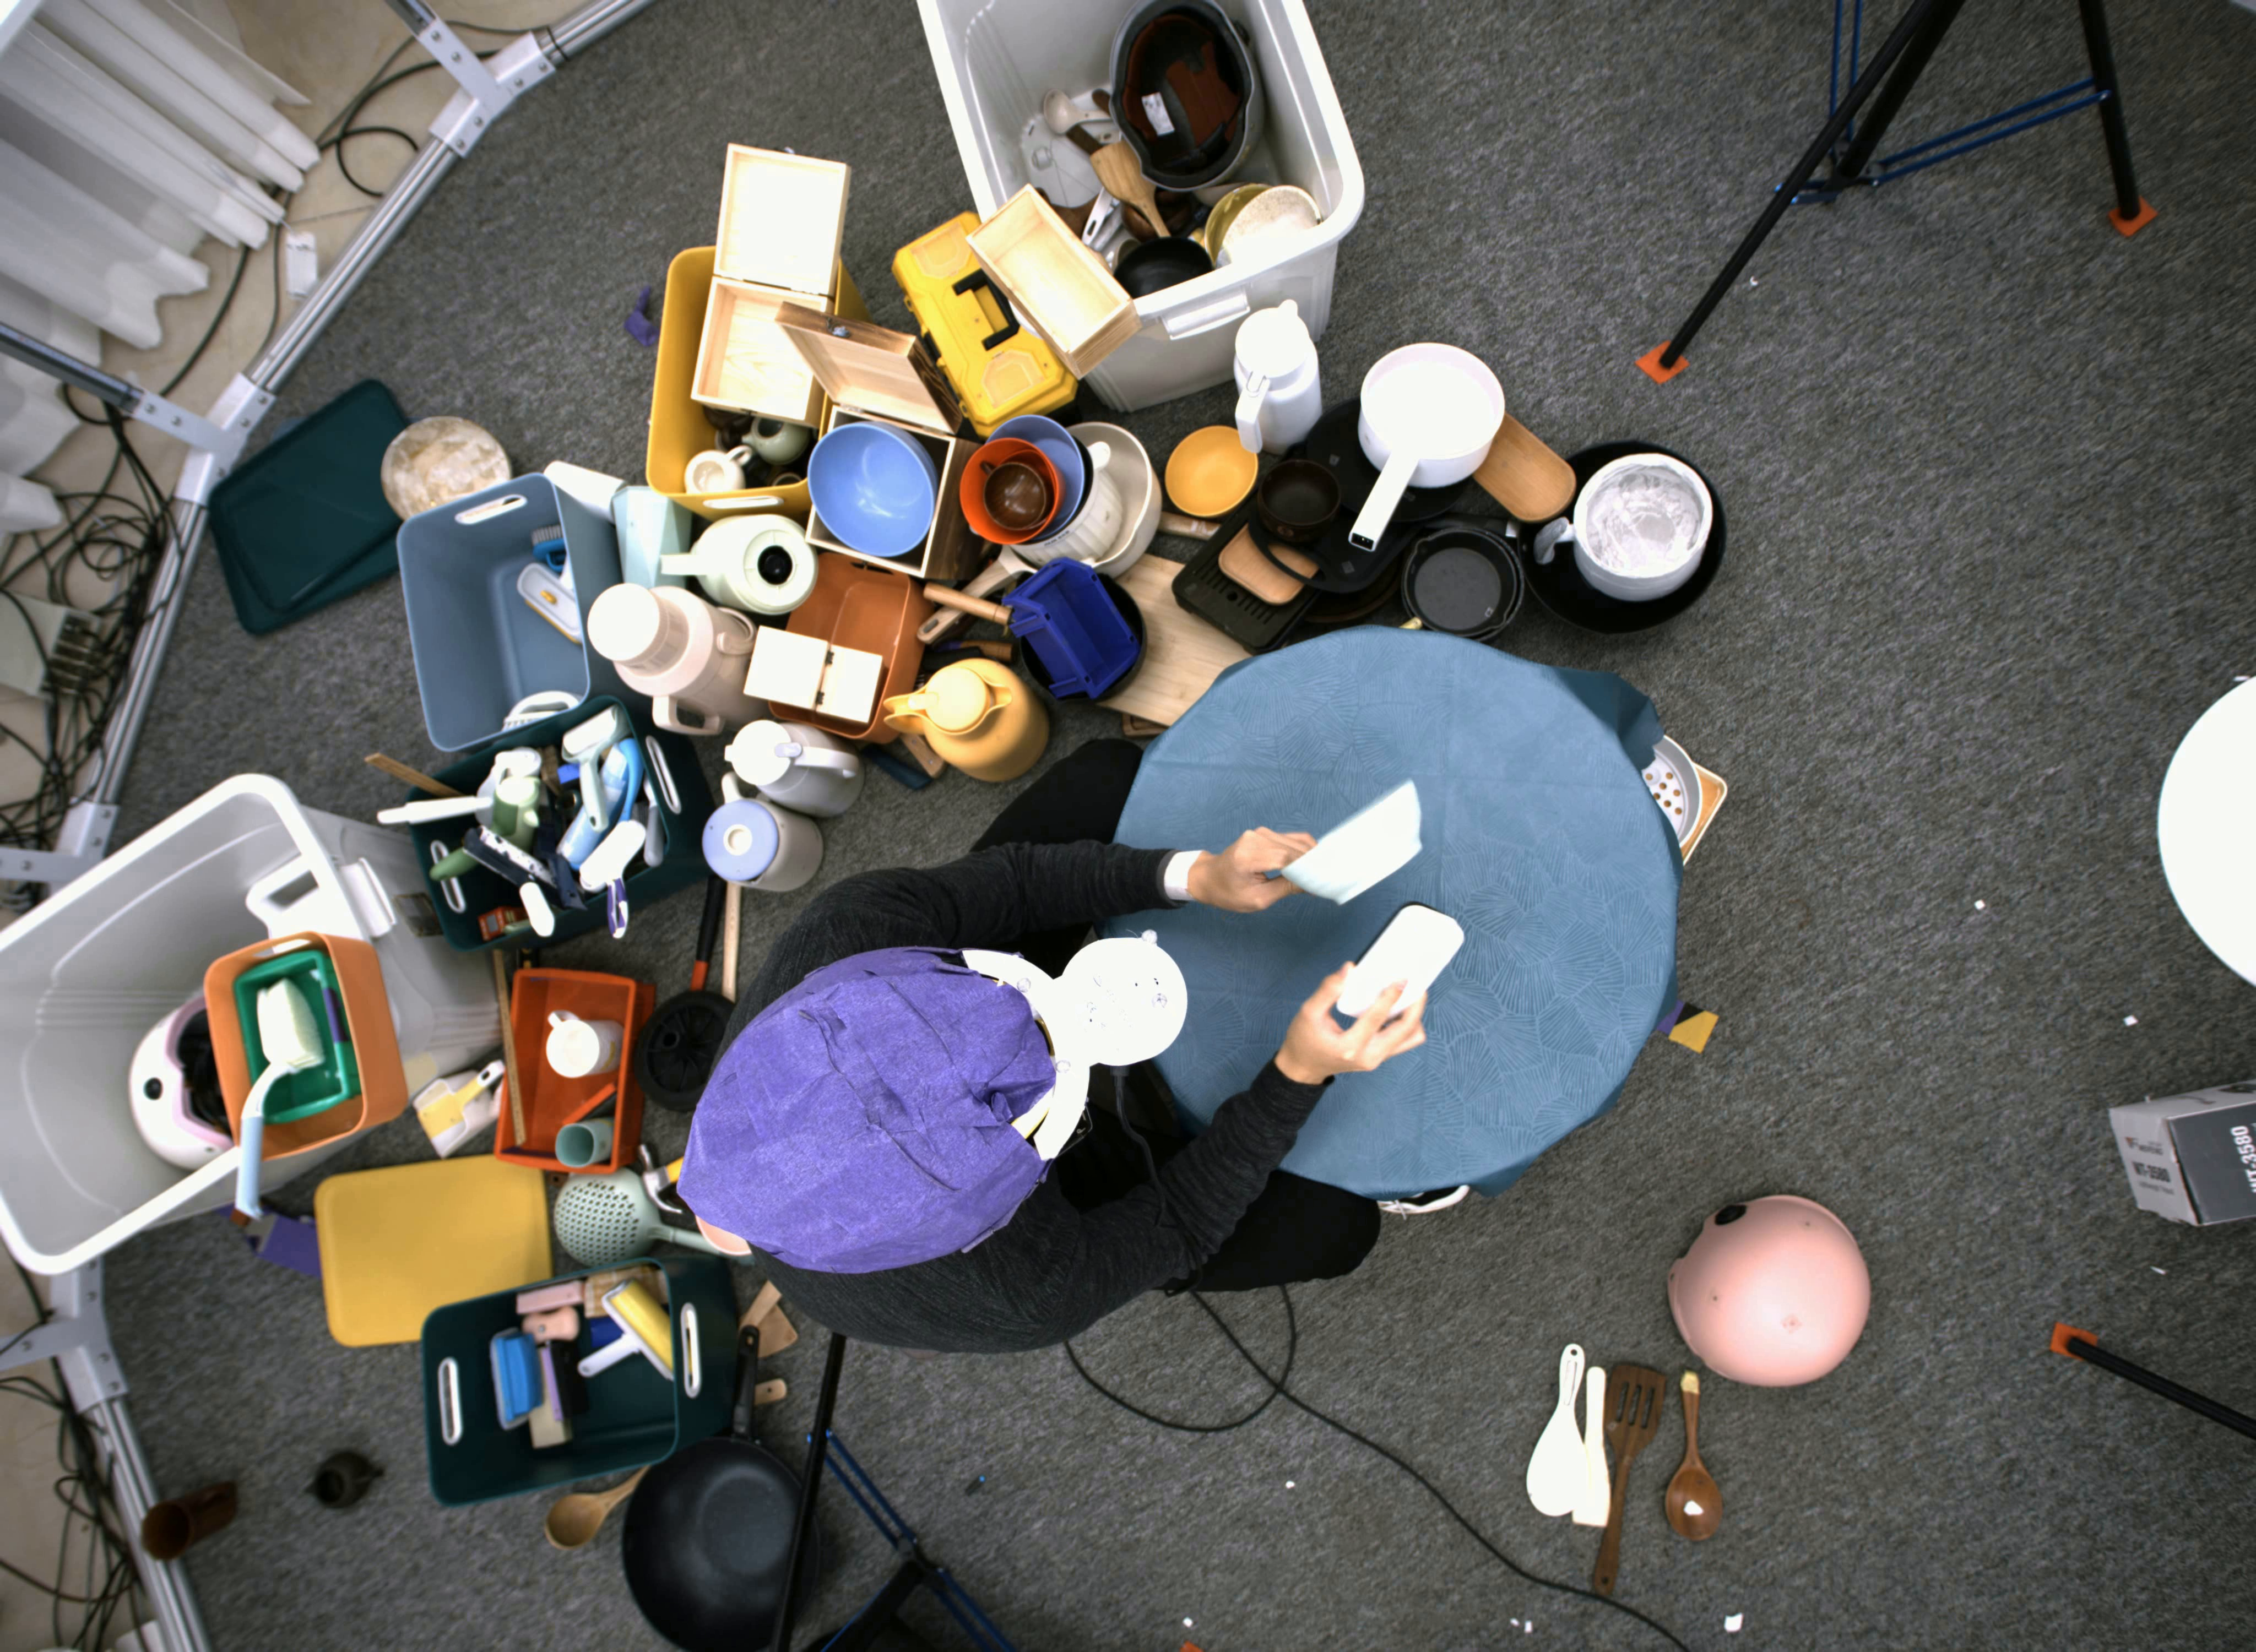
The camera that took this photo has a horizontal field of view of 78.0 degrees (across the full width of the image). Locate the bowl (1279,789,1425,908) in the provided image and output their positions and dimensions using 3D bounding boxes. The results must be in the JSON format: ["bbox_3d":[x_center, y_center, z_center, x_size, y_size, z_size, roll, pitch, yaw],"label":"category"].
[{"bbox_3d":[0.218,0.026,1.273,0.152,0.151,0.058,-31,85,6],"label":"bowl"}]

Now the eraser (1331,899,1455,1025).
[{"bbox_3d":[0.235,0.123,1.243,0.063,0.033,0.134,19,123,-19],"label":"eraser"}]
